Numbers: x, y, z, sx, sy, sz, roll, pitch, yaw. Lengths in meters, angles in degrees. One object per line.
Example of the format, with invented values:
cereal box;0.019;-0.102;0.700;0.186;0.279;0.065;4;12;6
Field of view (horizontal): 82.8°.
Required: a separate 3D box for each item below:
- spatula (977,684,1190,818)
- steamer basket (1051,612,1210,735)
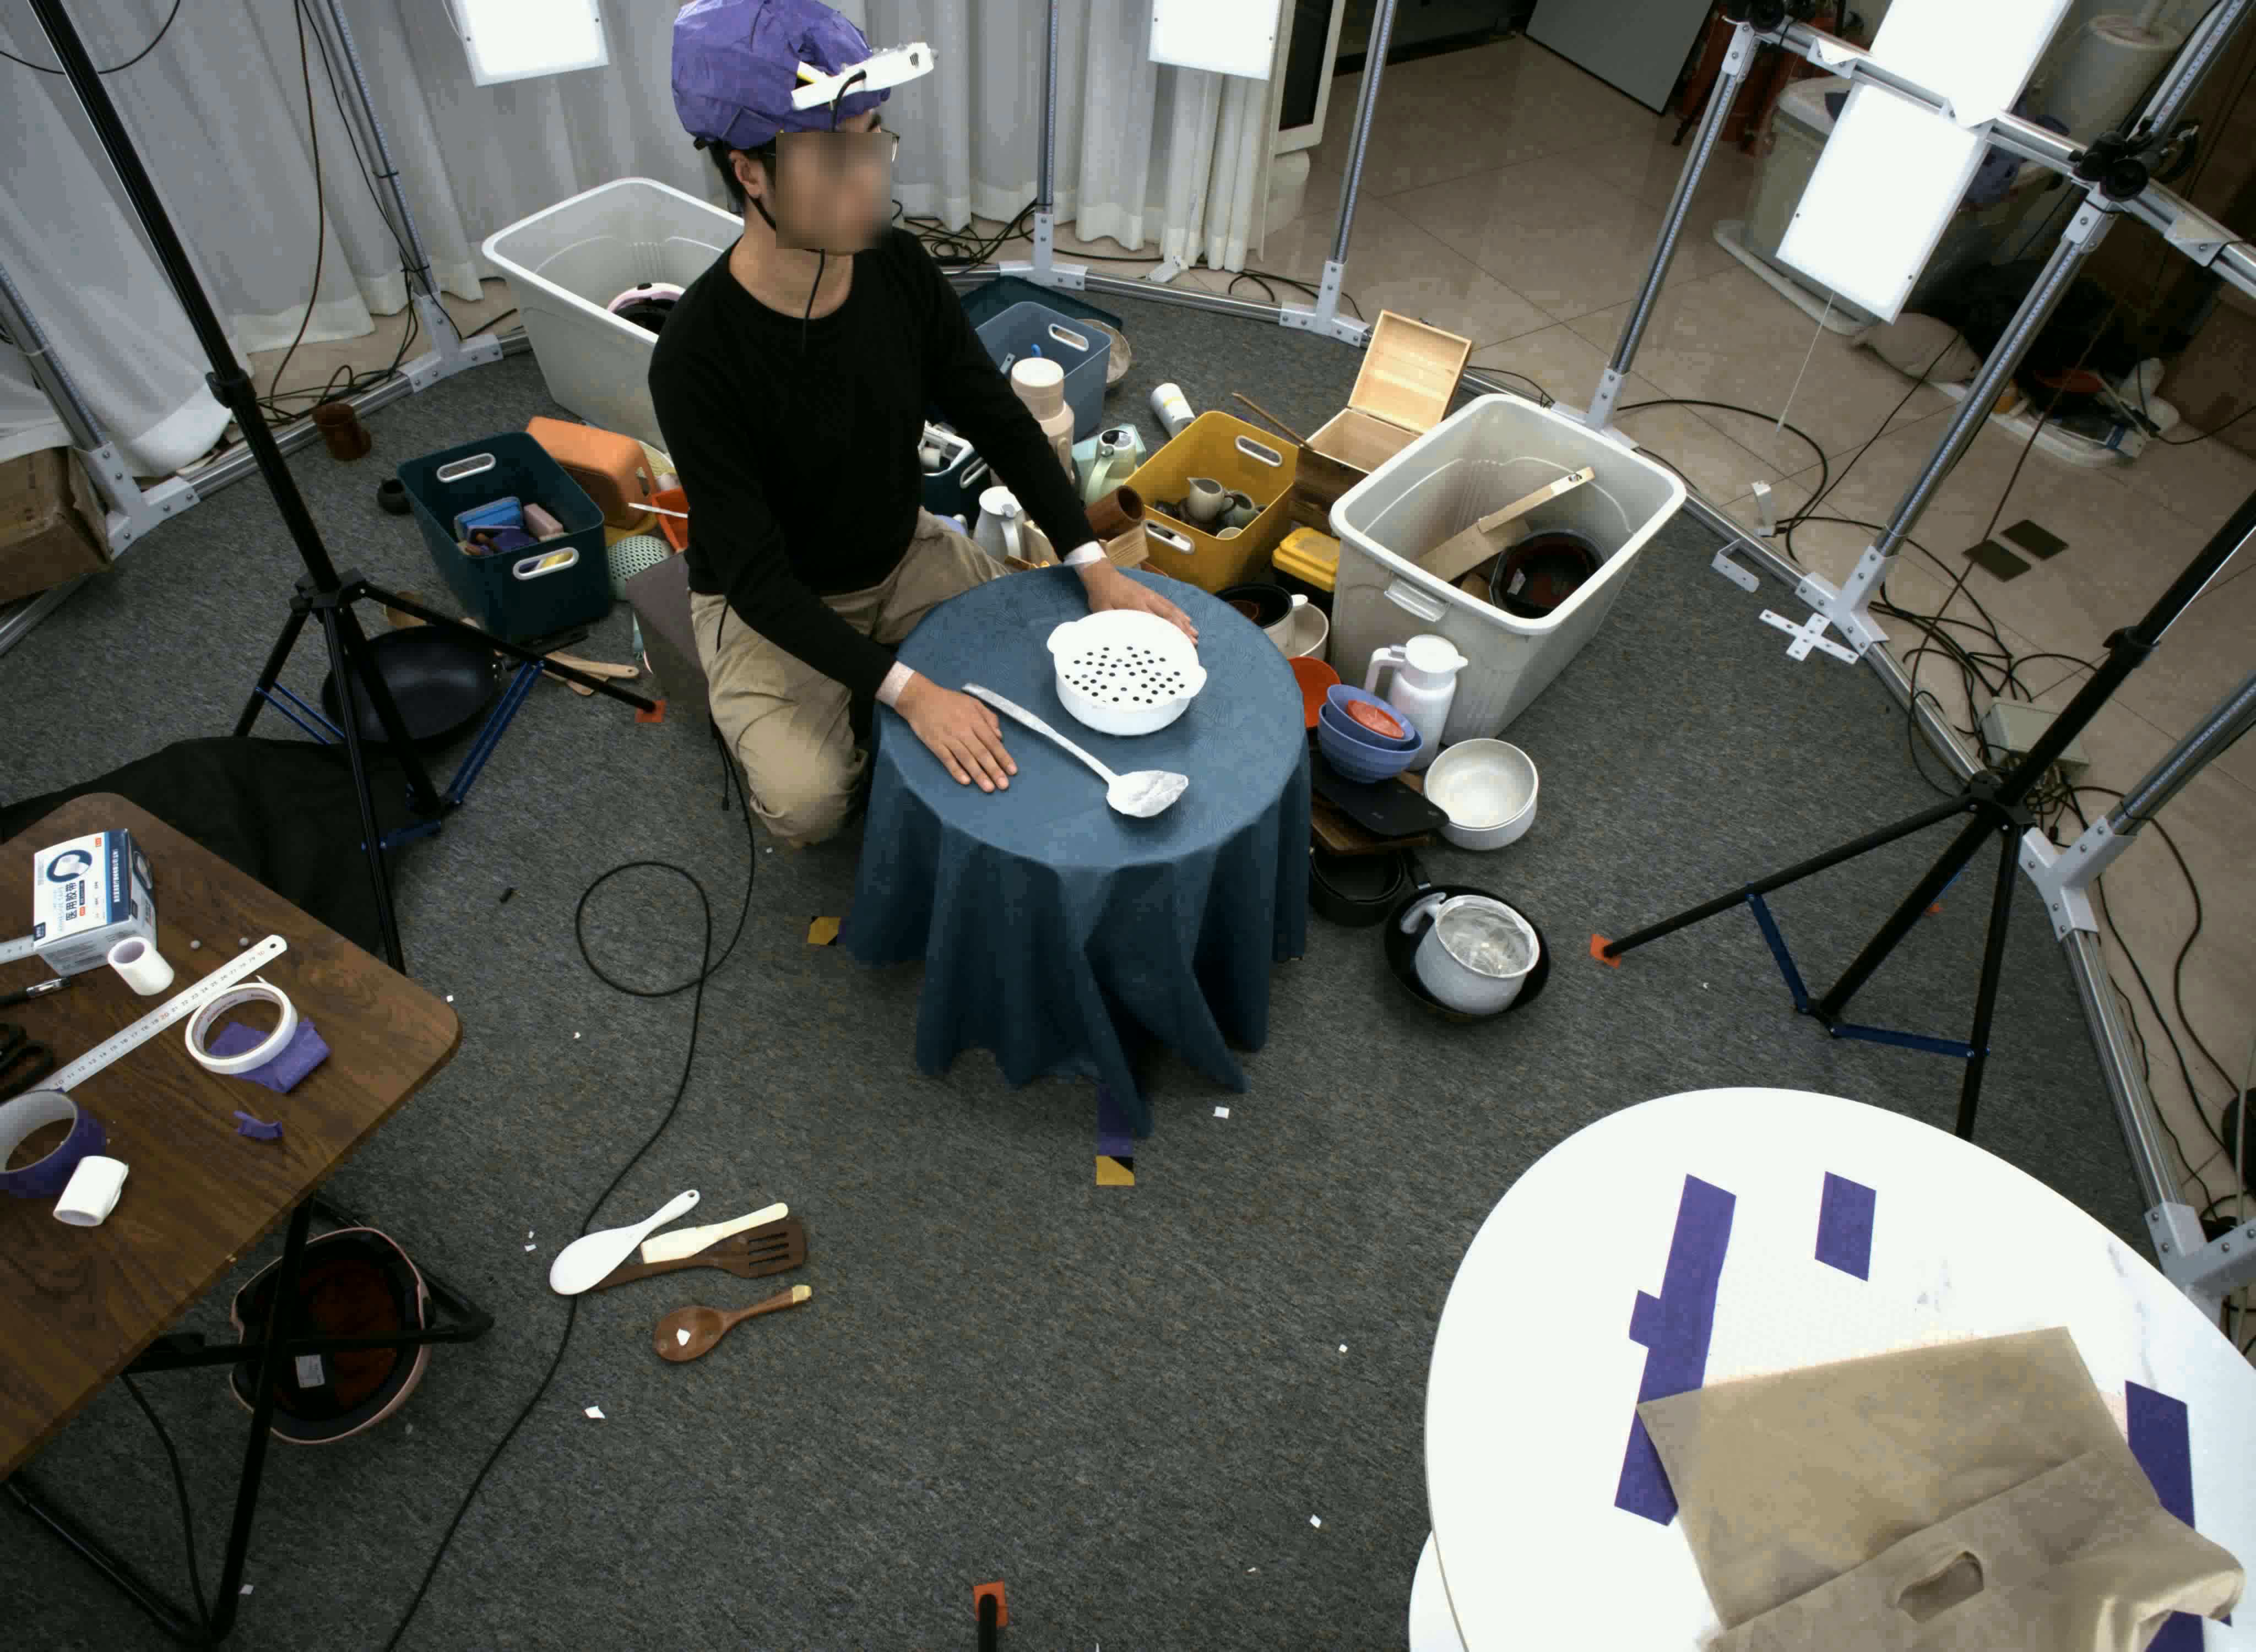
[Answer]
spatula;-0.079;-0.114;1.740;0.369;0.044;0.100;34;57;23
steamer basket;0.001;-0.215;1.811;0.232;0.067;0.205;21;50;15
